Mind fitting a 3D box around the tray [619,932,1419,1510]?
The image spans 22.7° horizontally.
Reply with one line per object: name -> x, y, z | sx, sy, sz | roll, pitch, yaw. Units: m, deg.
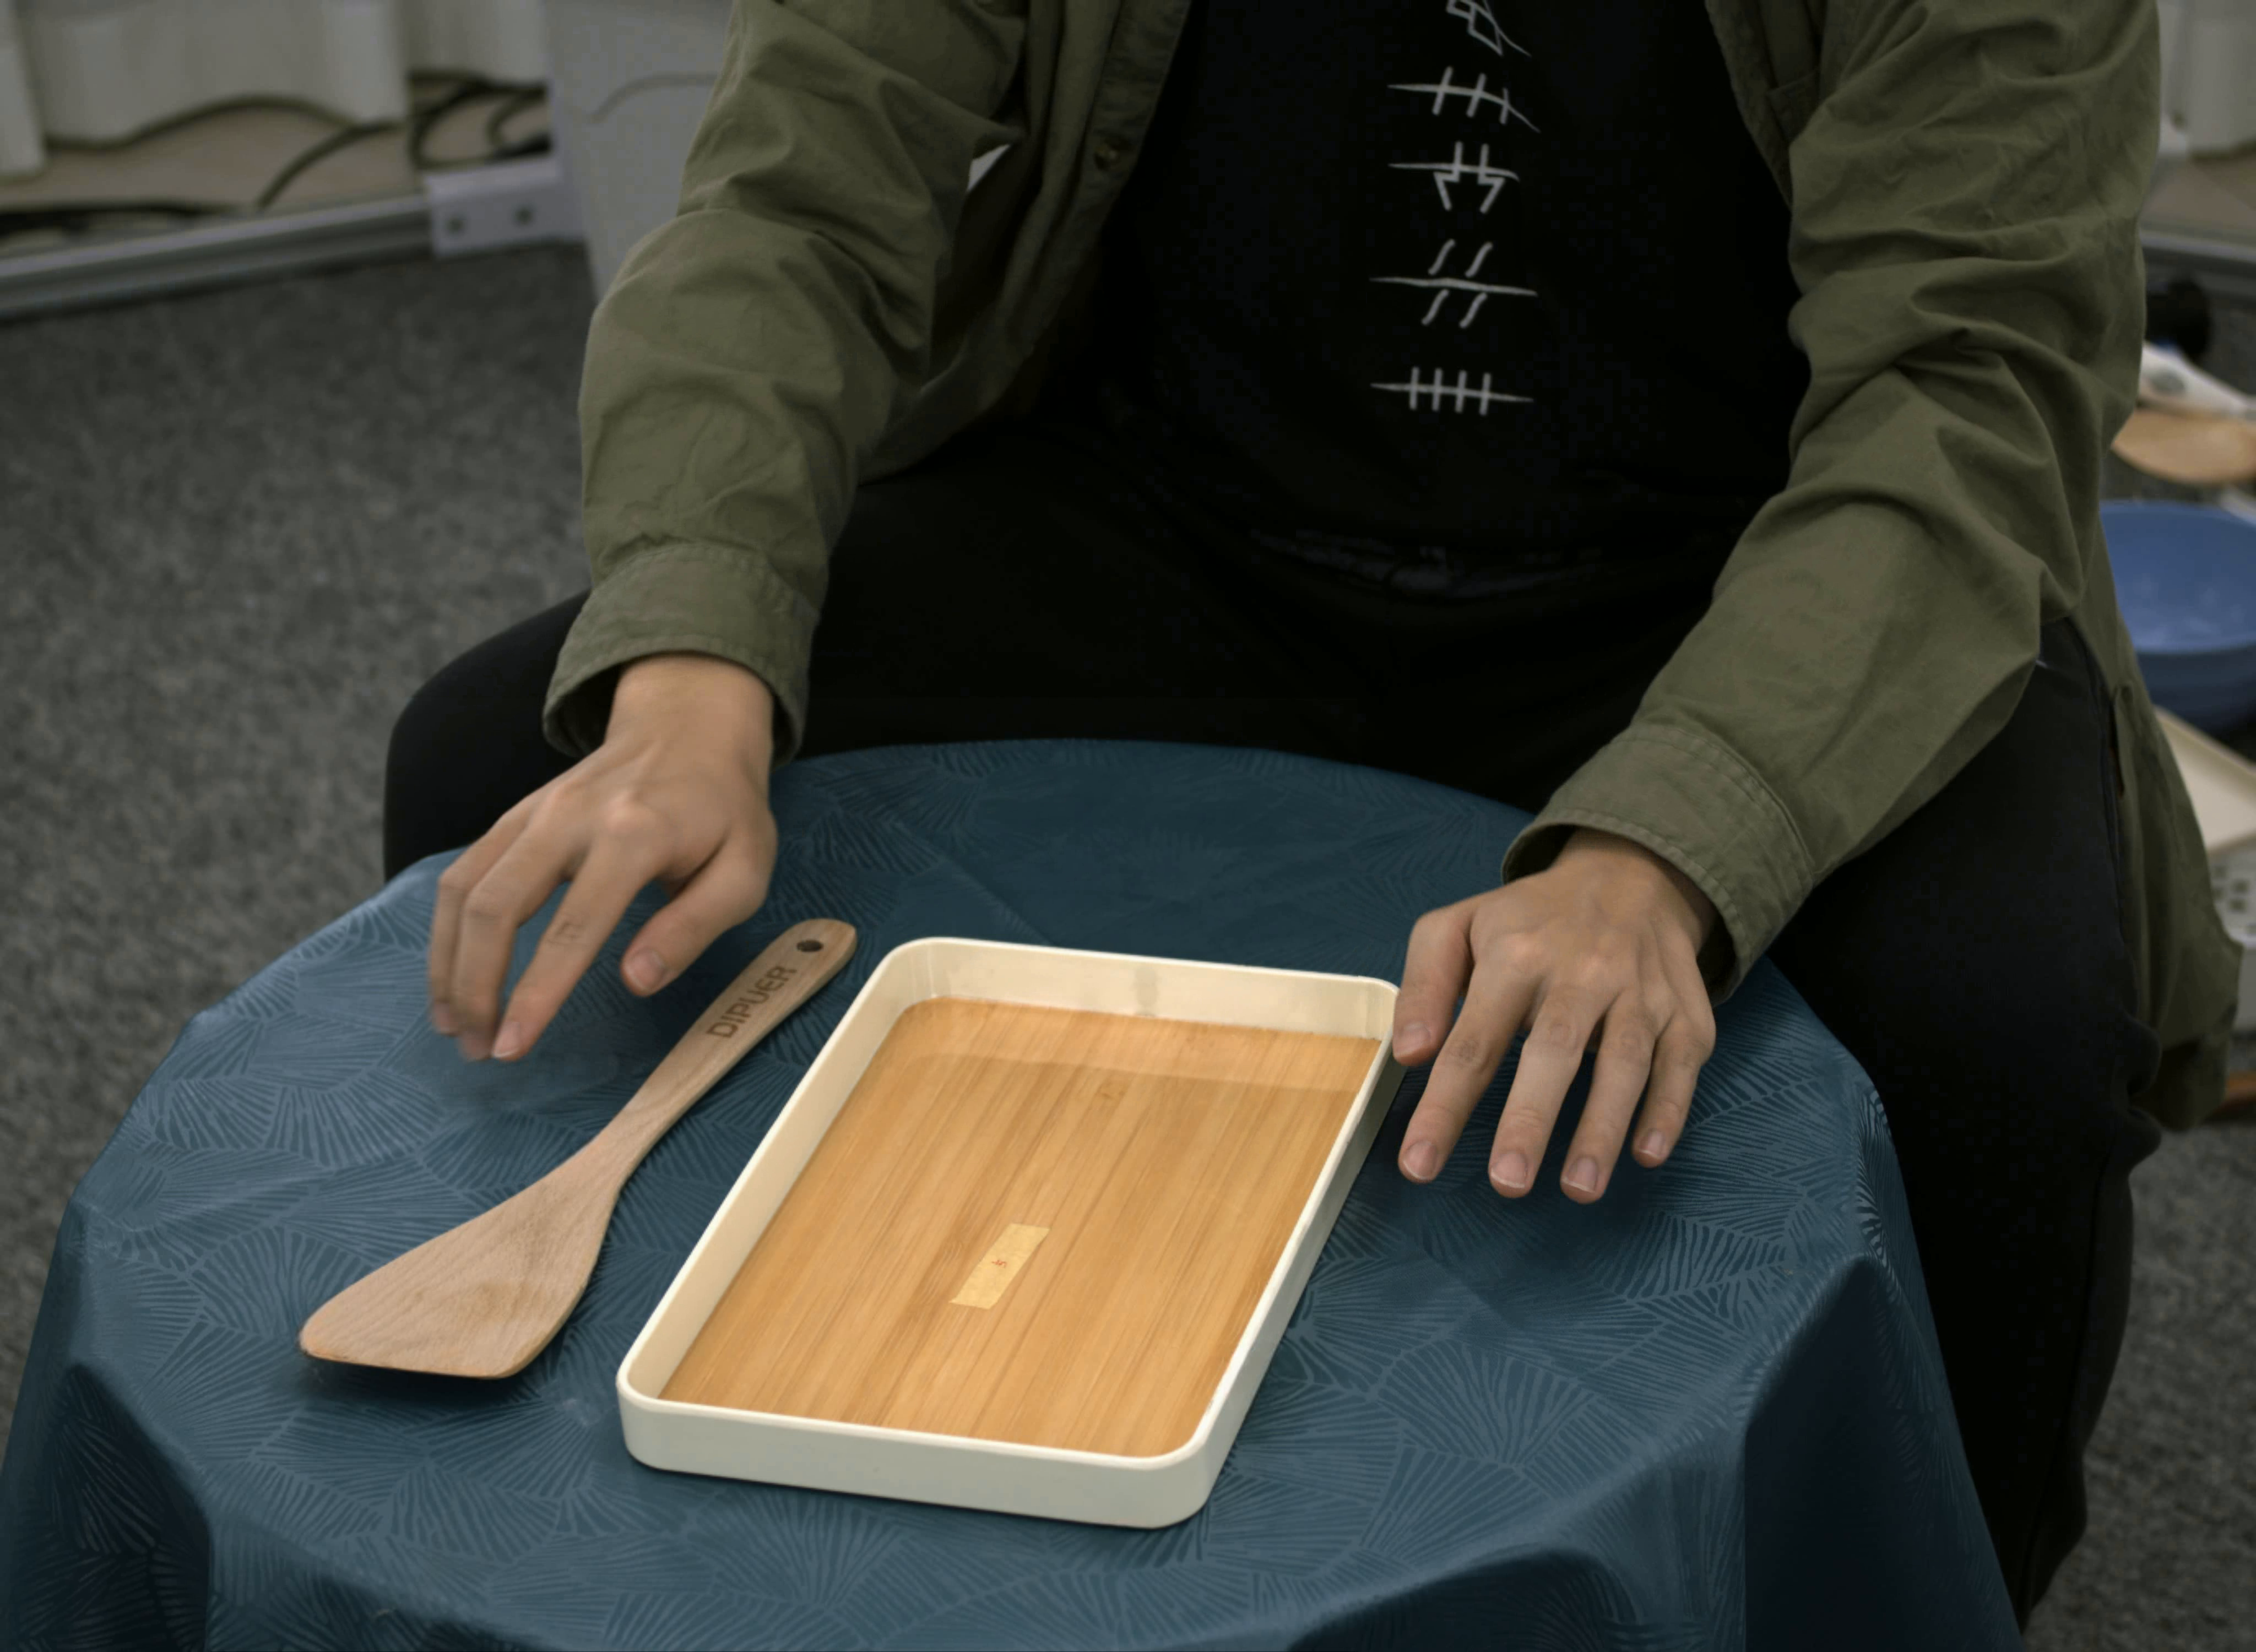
tray -> -0.029, 0.122, 1.827 | 0.190, 0.027, 0.305 | 6, 28, 16

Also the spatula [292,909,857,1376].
spatula -> -0.168, 0.103, 1.892 | 0.079, 0.016, 0.333 | 9, 30, 21
